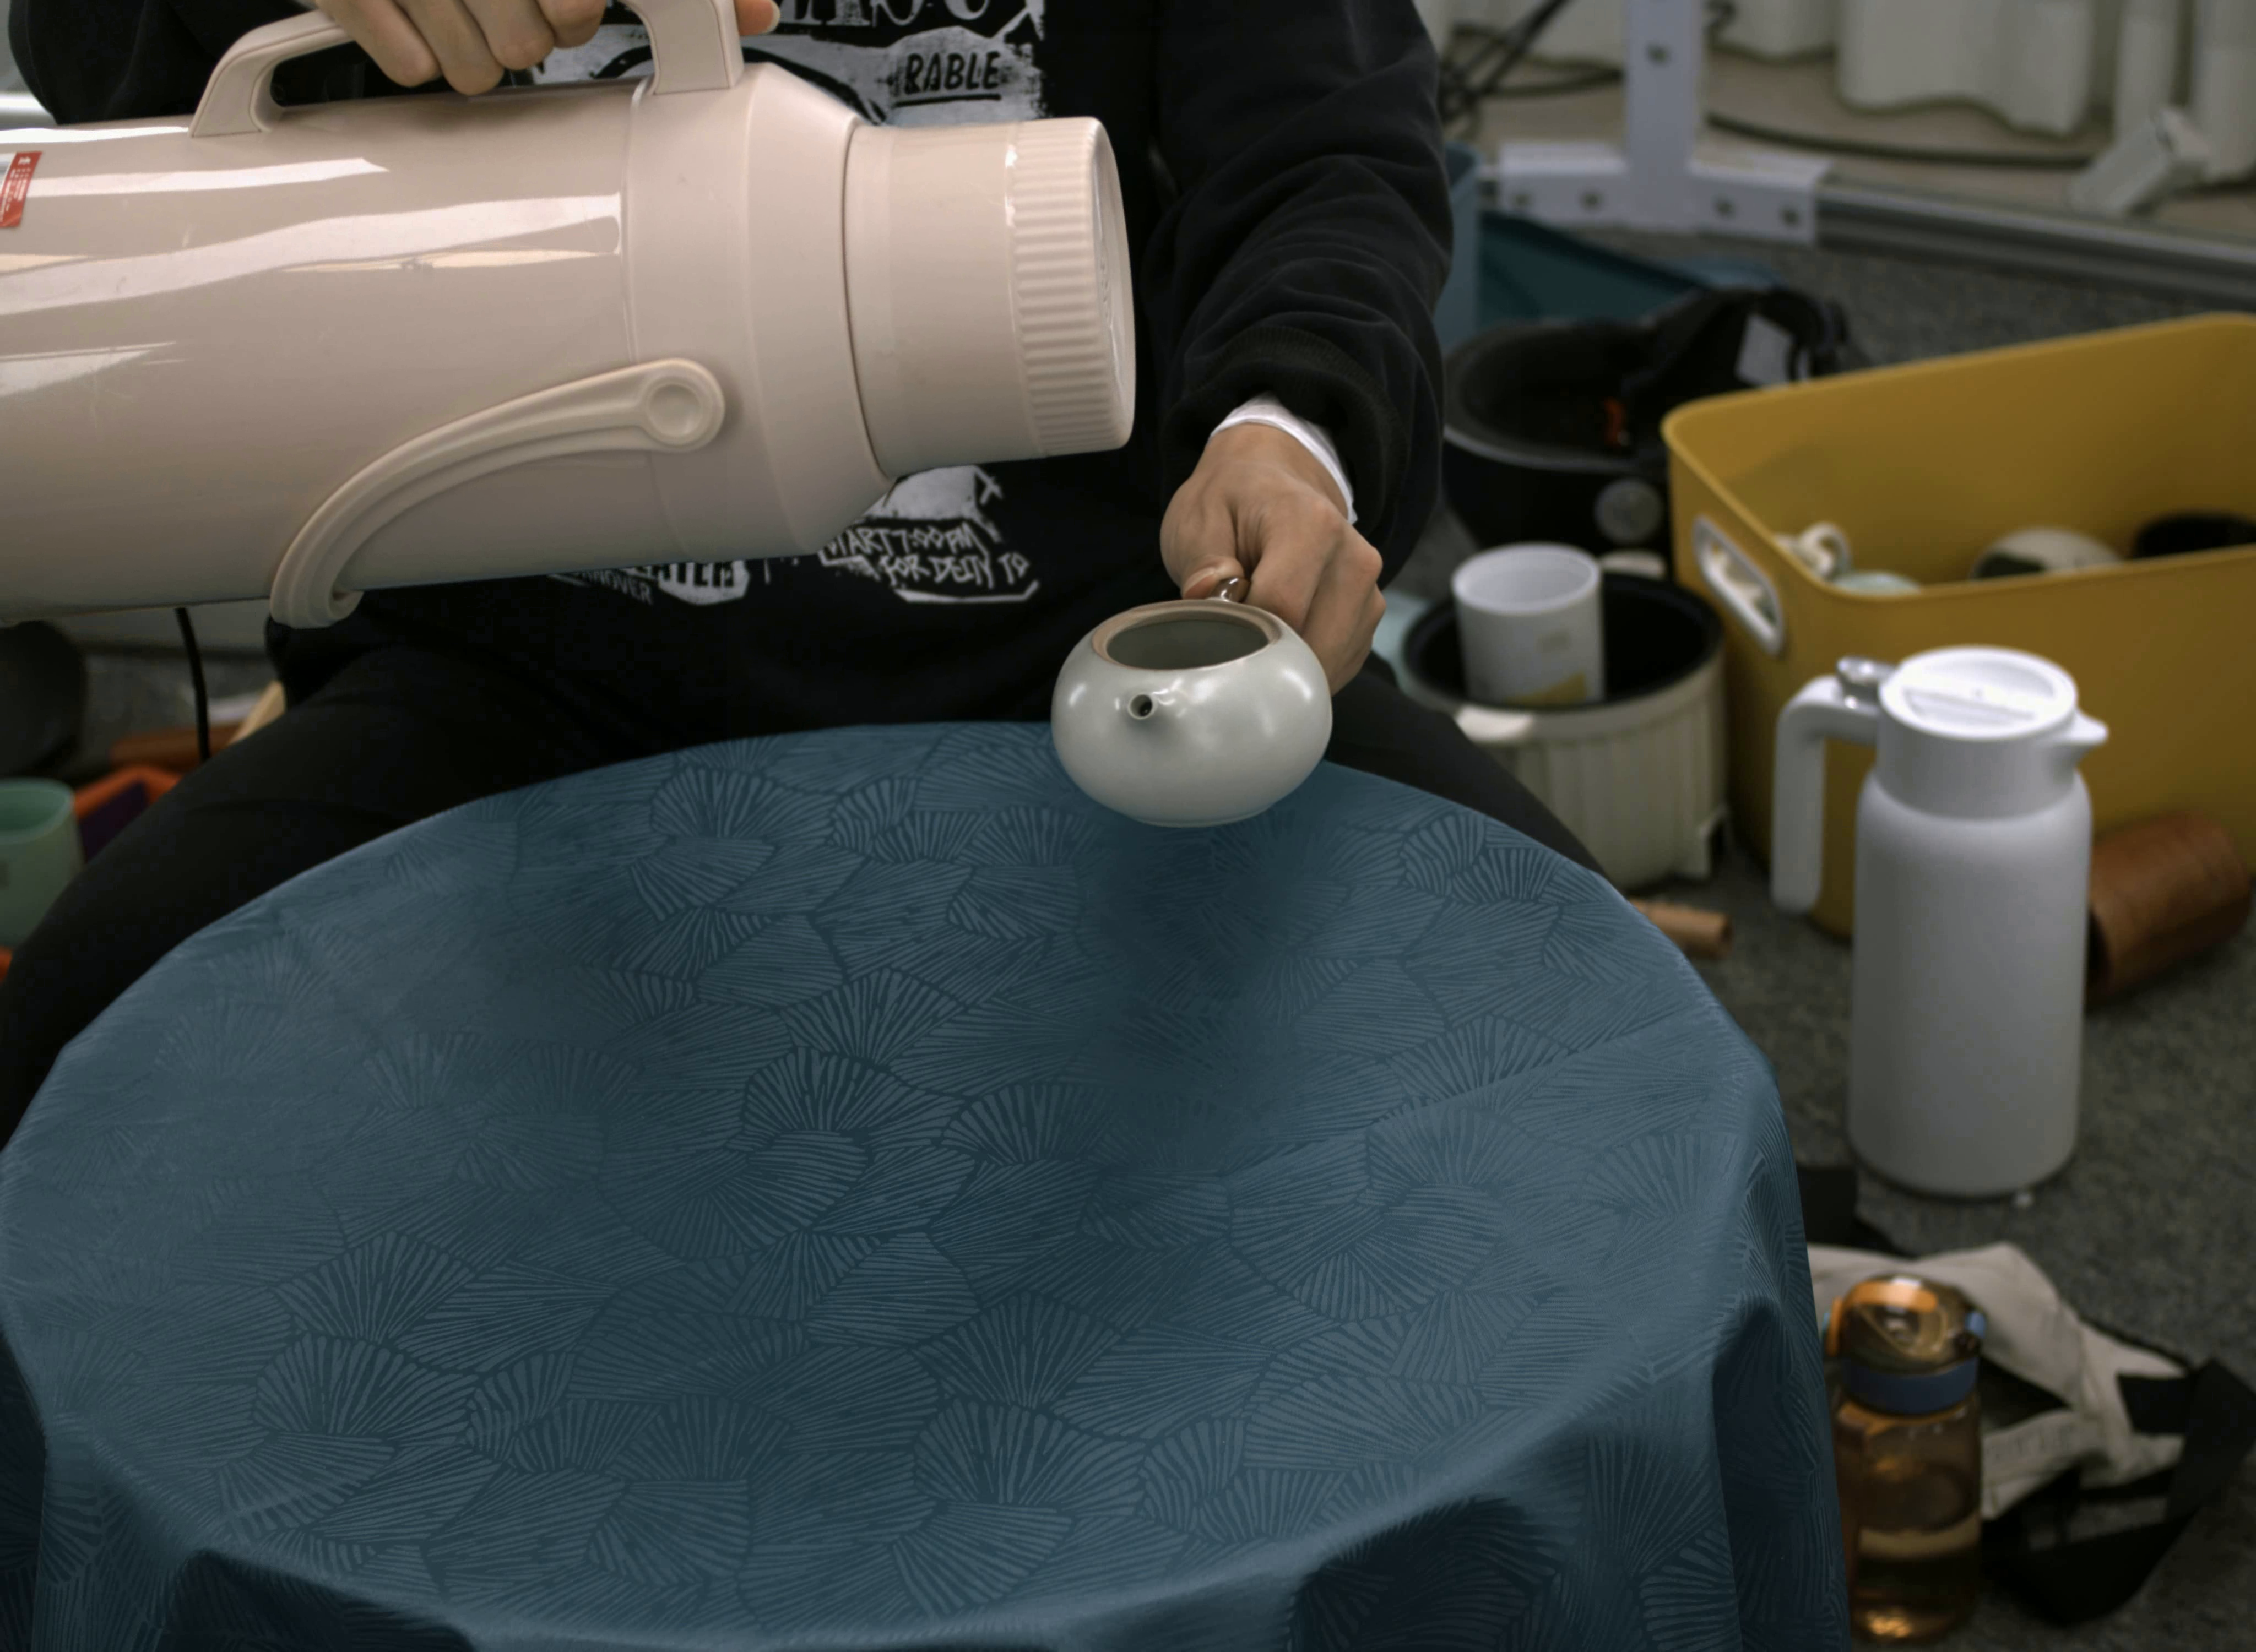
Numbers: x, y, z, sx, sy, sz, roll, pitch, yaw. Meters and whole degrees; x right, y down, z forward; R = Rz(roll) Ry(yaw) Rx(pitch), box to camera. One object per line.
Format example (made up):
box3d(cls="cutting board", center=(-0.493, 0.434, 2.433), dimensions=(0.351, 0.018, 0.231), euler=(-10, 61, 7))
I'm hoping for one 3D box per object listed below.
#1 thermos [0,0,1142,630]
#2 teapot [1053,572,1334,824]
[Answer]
box3d(cls="thermos", center=(-0.204, -0.170, 1.790), dimensions=(0.403, 0.205, 0.178), euler=(-4, 23, 8))
box3d(cls="teapot", center=(0.024, -0.042, 1.836), dimensions=(0.091, 0.059, 0.130), euler=(-1, 23, 16))
